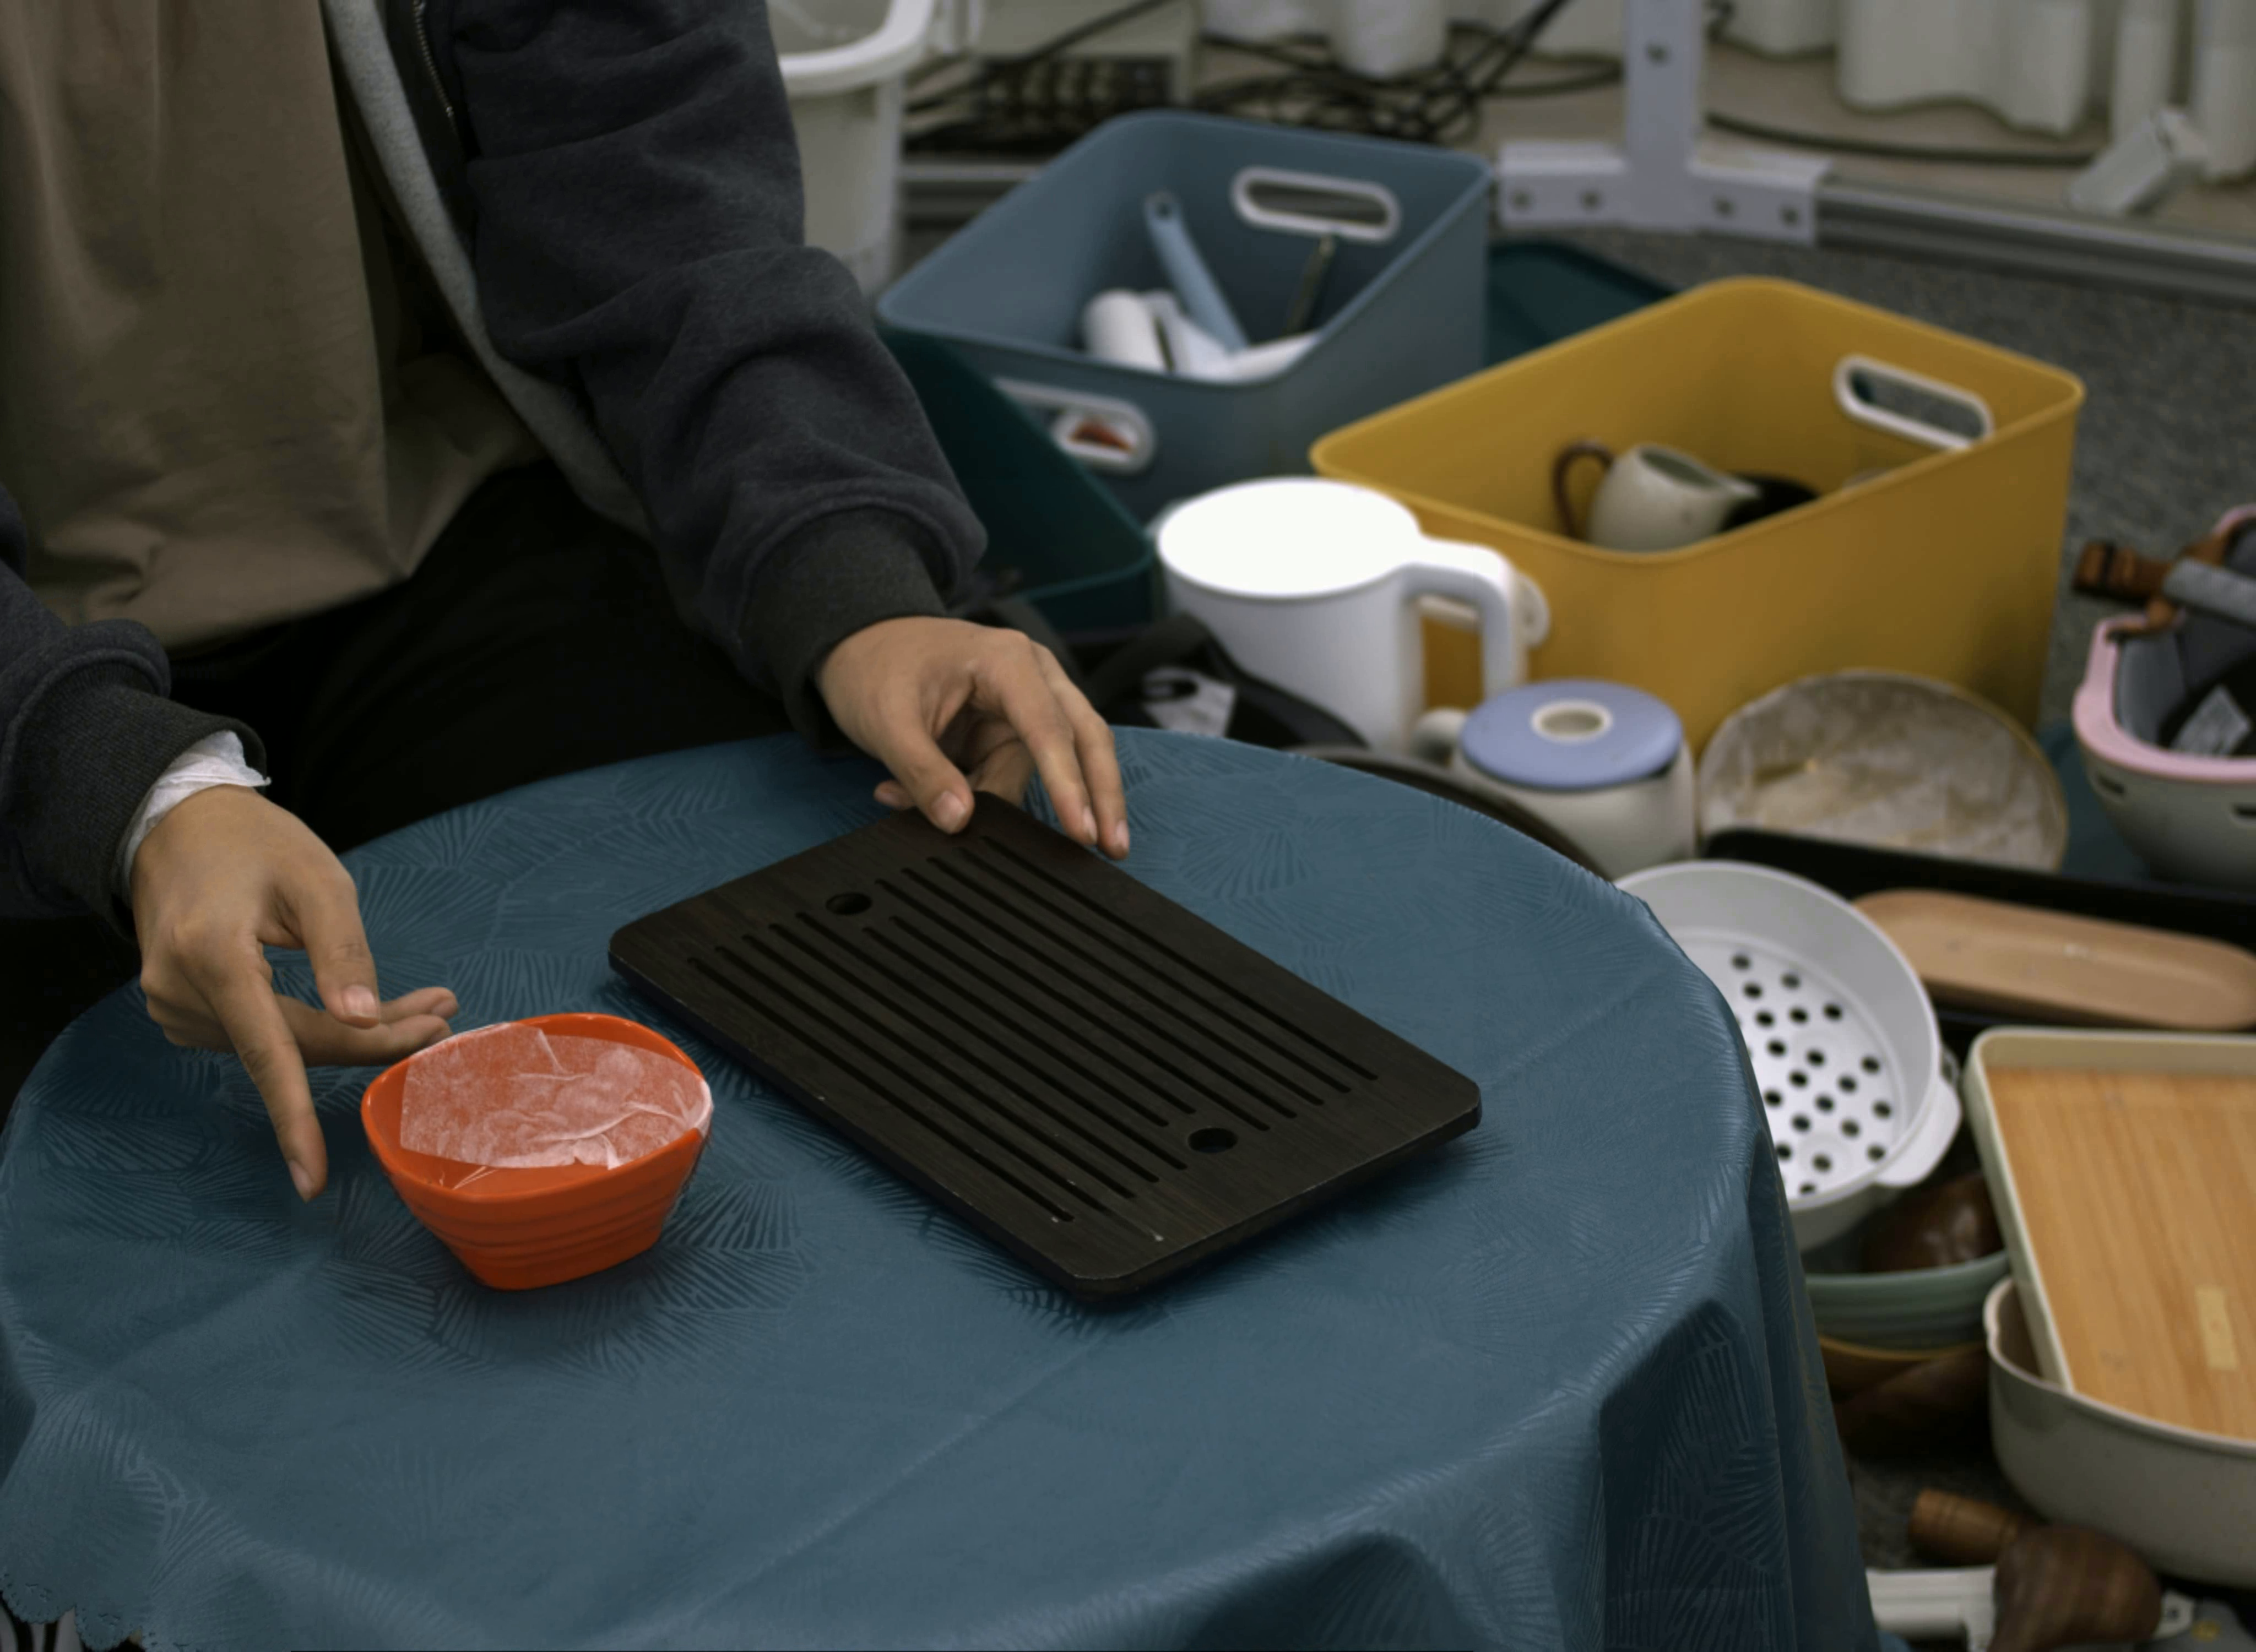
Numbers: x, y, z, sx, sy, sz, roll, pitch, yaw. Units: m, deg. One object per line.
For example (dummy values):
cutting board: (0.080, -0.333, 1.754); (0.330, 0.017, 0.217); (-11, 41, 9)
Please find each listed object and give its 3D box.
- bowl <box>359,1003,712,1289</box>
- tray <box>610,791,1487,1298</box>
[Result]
bowl: (-0.192, 0.110, 1.844); (0.118, 0.051, 0.121); (-2, 29, 1)
tray: (-0.032, 0.072, 1.938); (0.171, 0.018, 0.306); (-22, 33, -30)
